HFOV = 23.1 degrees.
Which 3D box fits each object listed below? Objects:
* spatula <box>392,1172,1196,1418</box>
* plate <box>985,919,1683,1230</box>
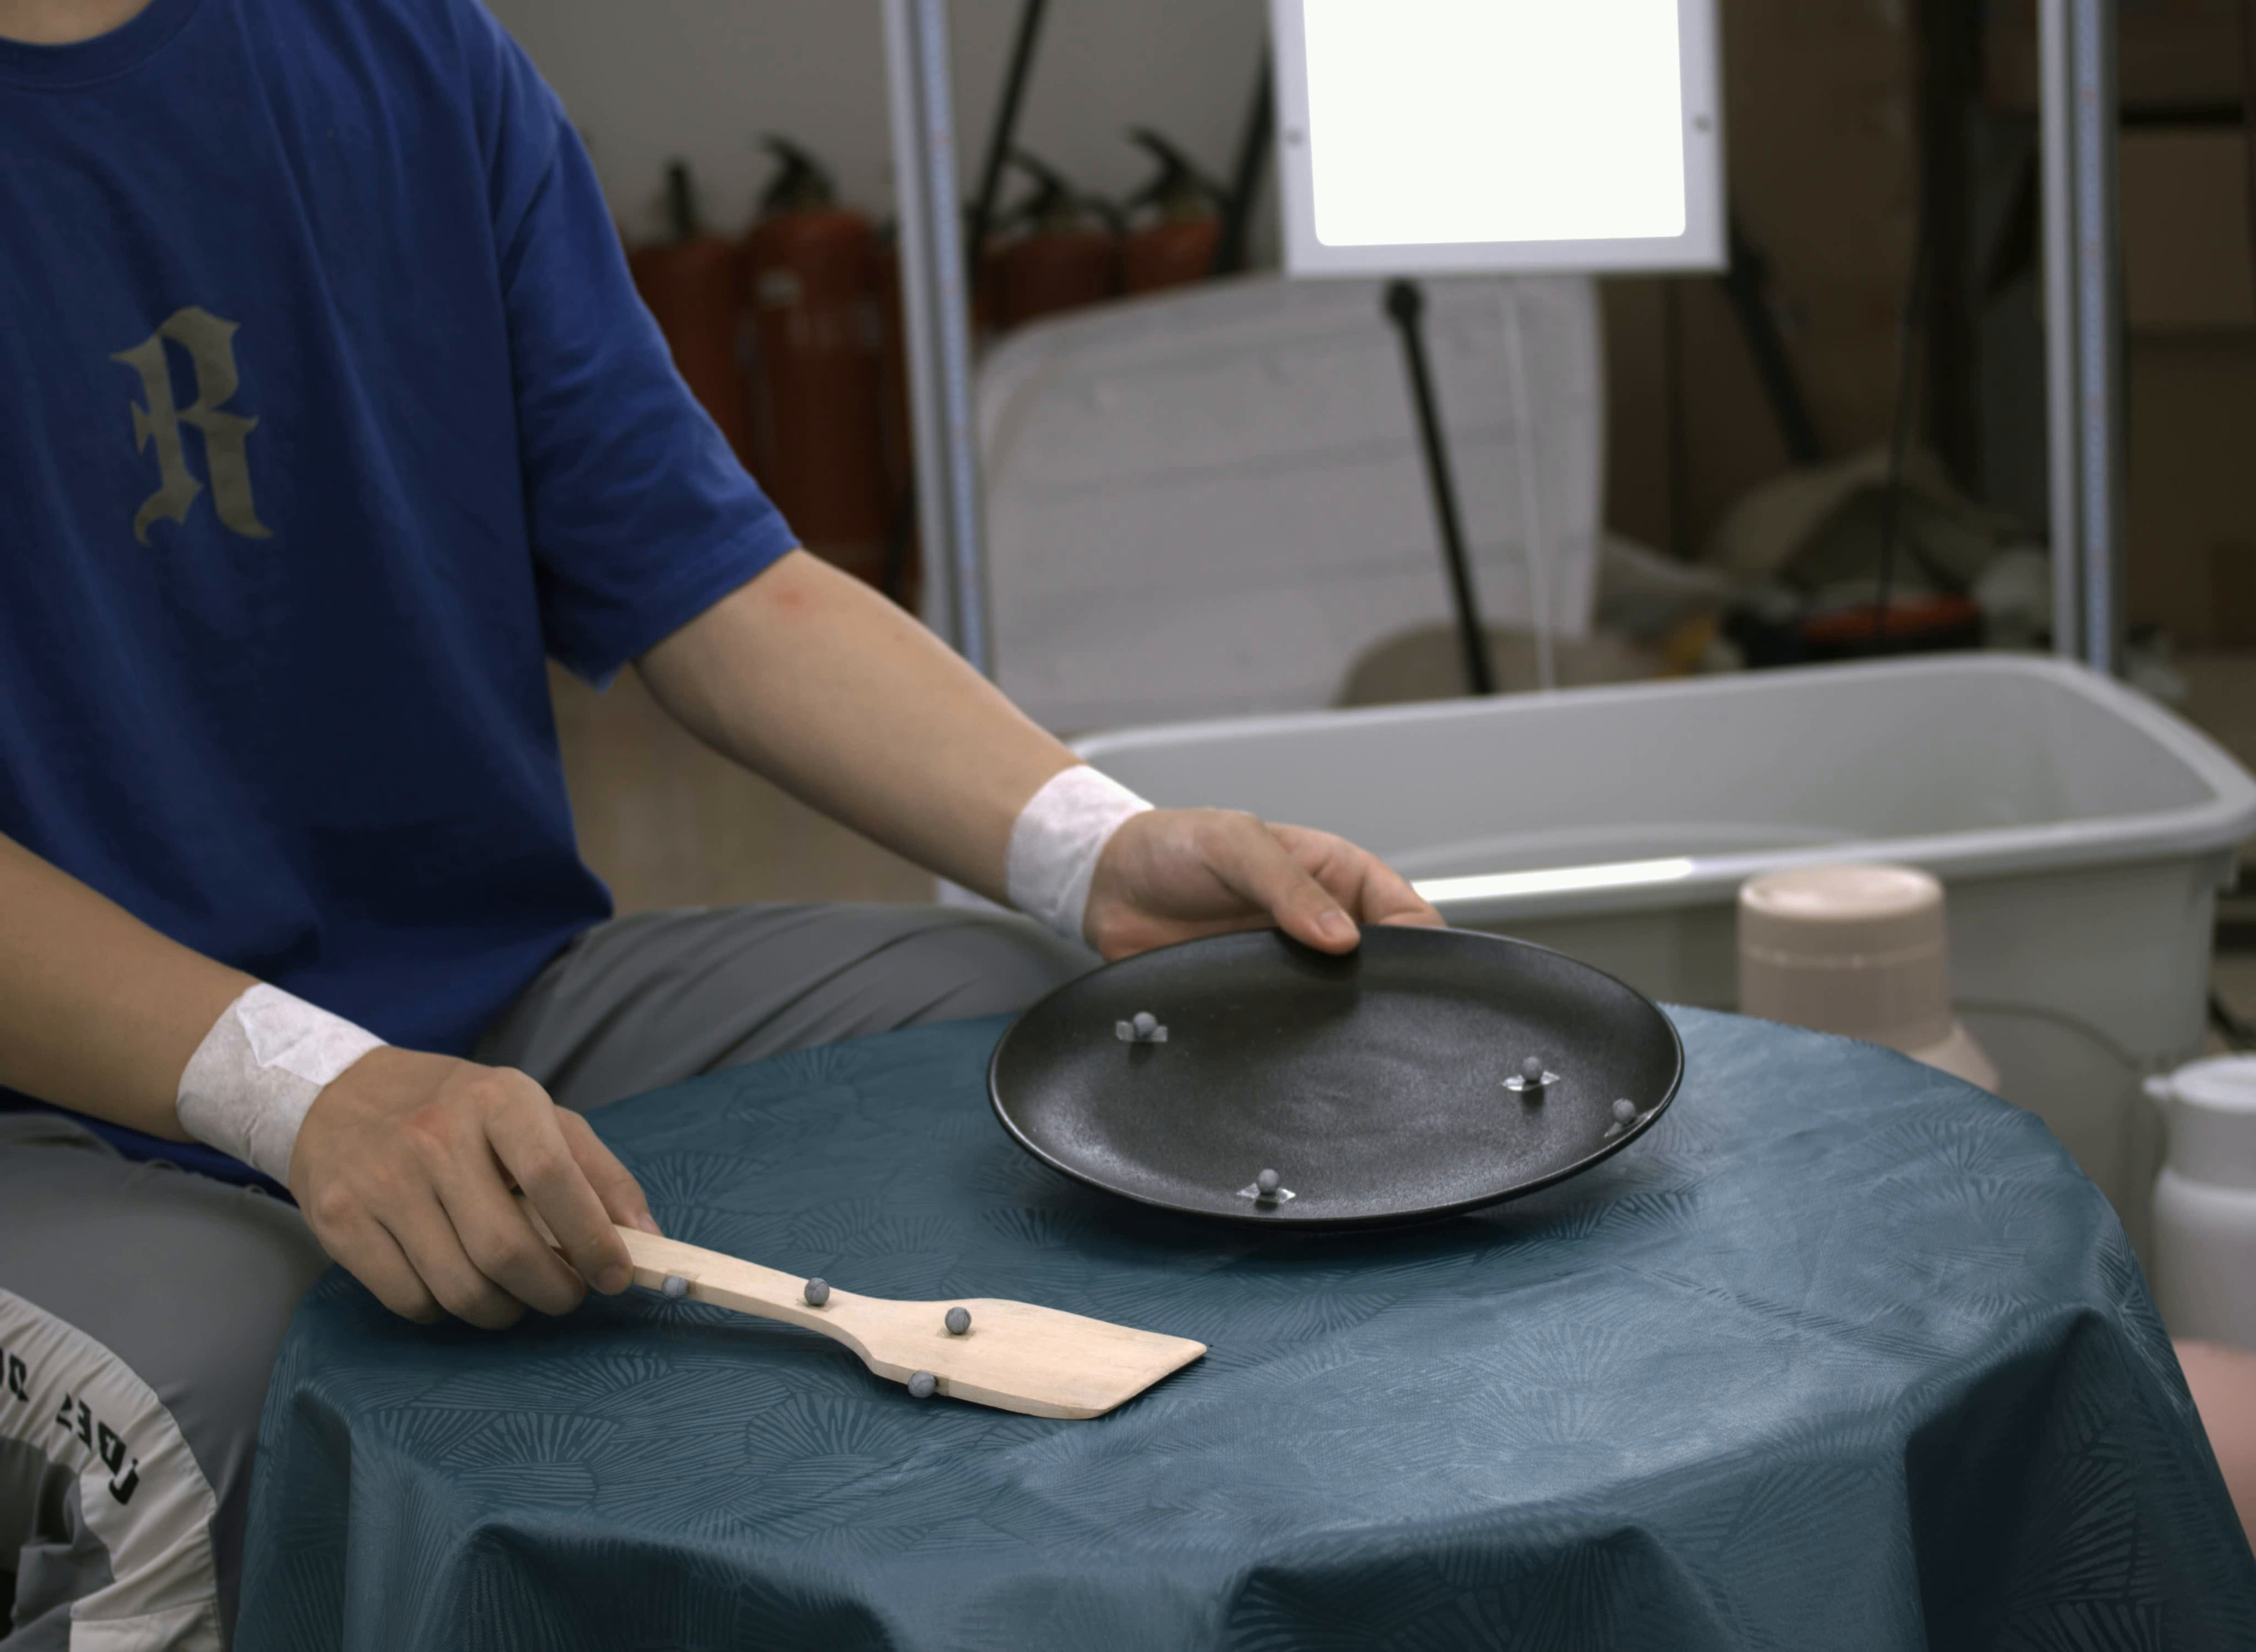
[{"bbox_3d":[-0.118,0.148,1.778,0.298,0.011,0.070,12,20,31],"label":"spatula"},{"bbox_3d":[0.072,0.090,1.911,0.244,0.023,0.244,-4,23,0],"label":"plate"}]
